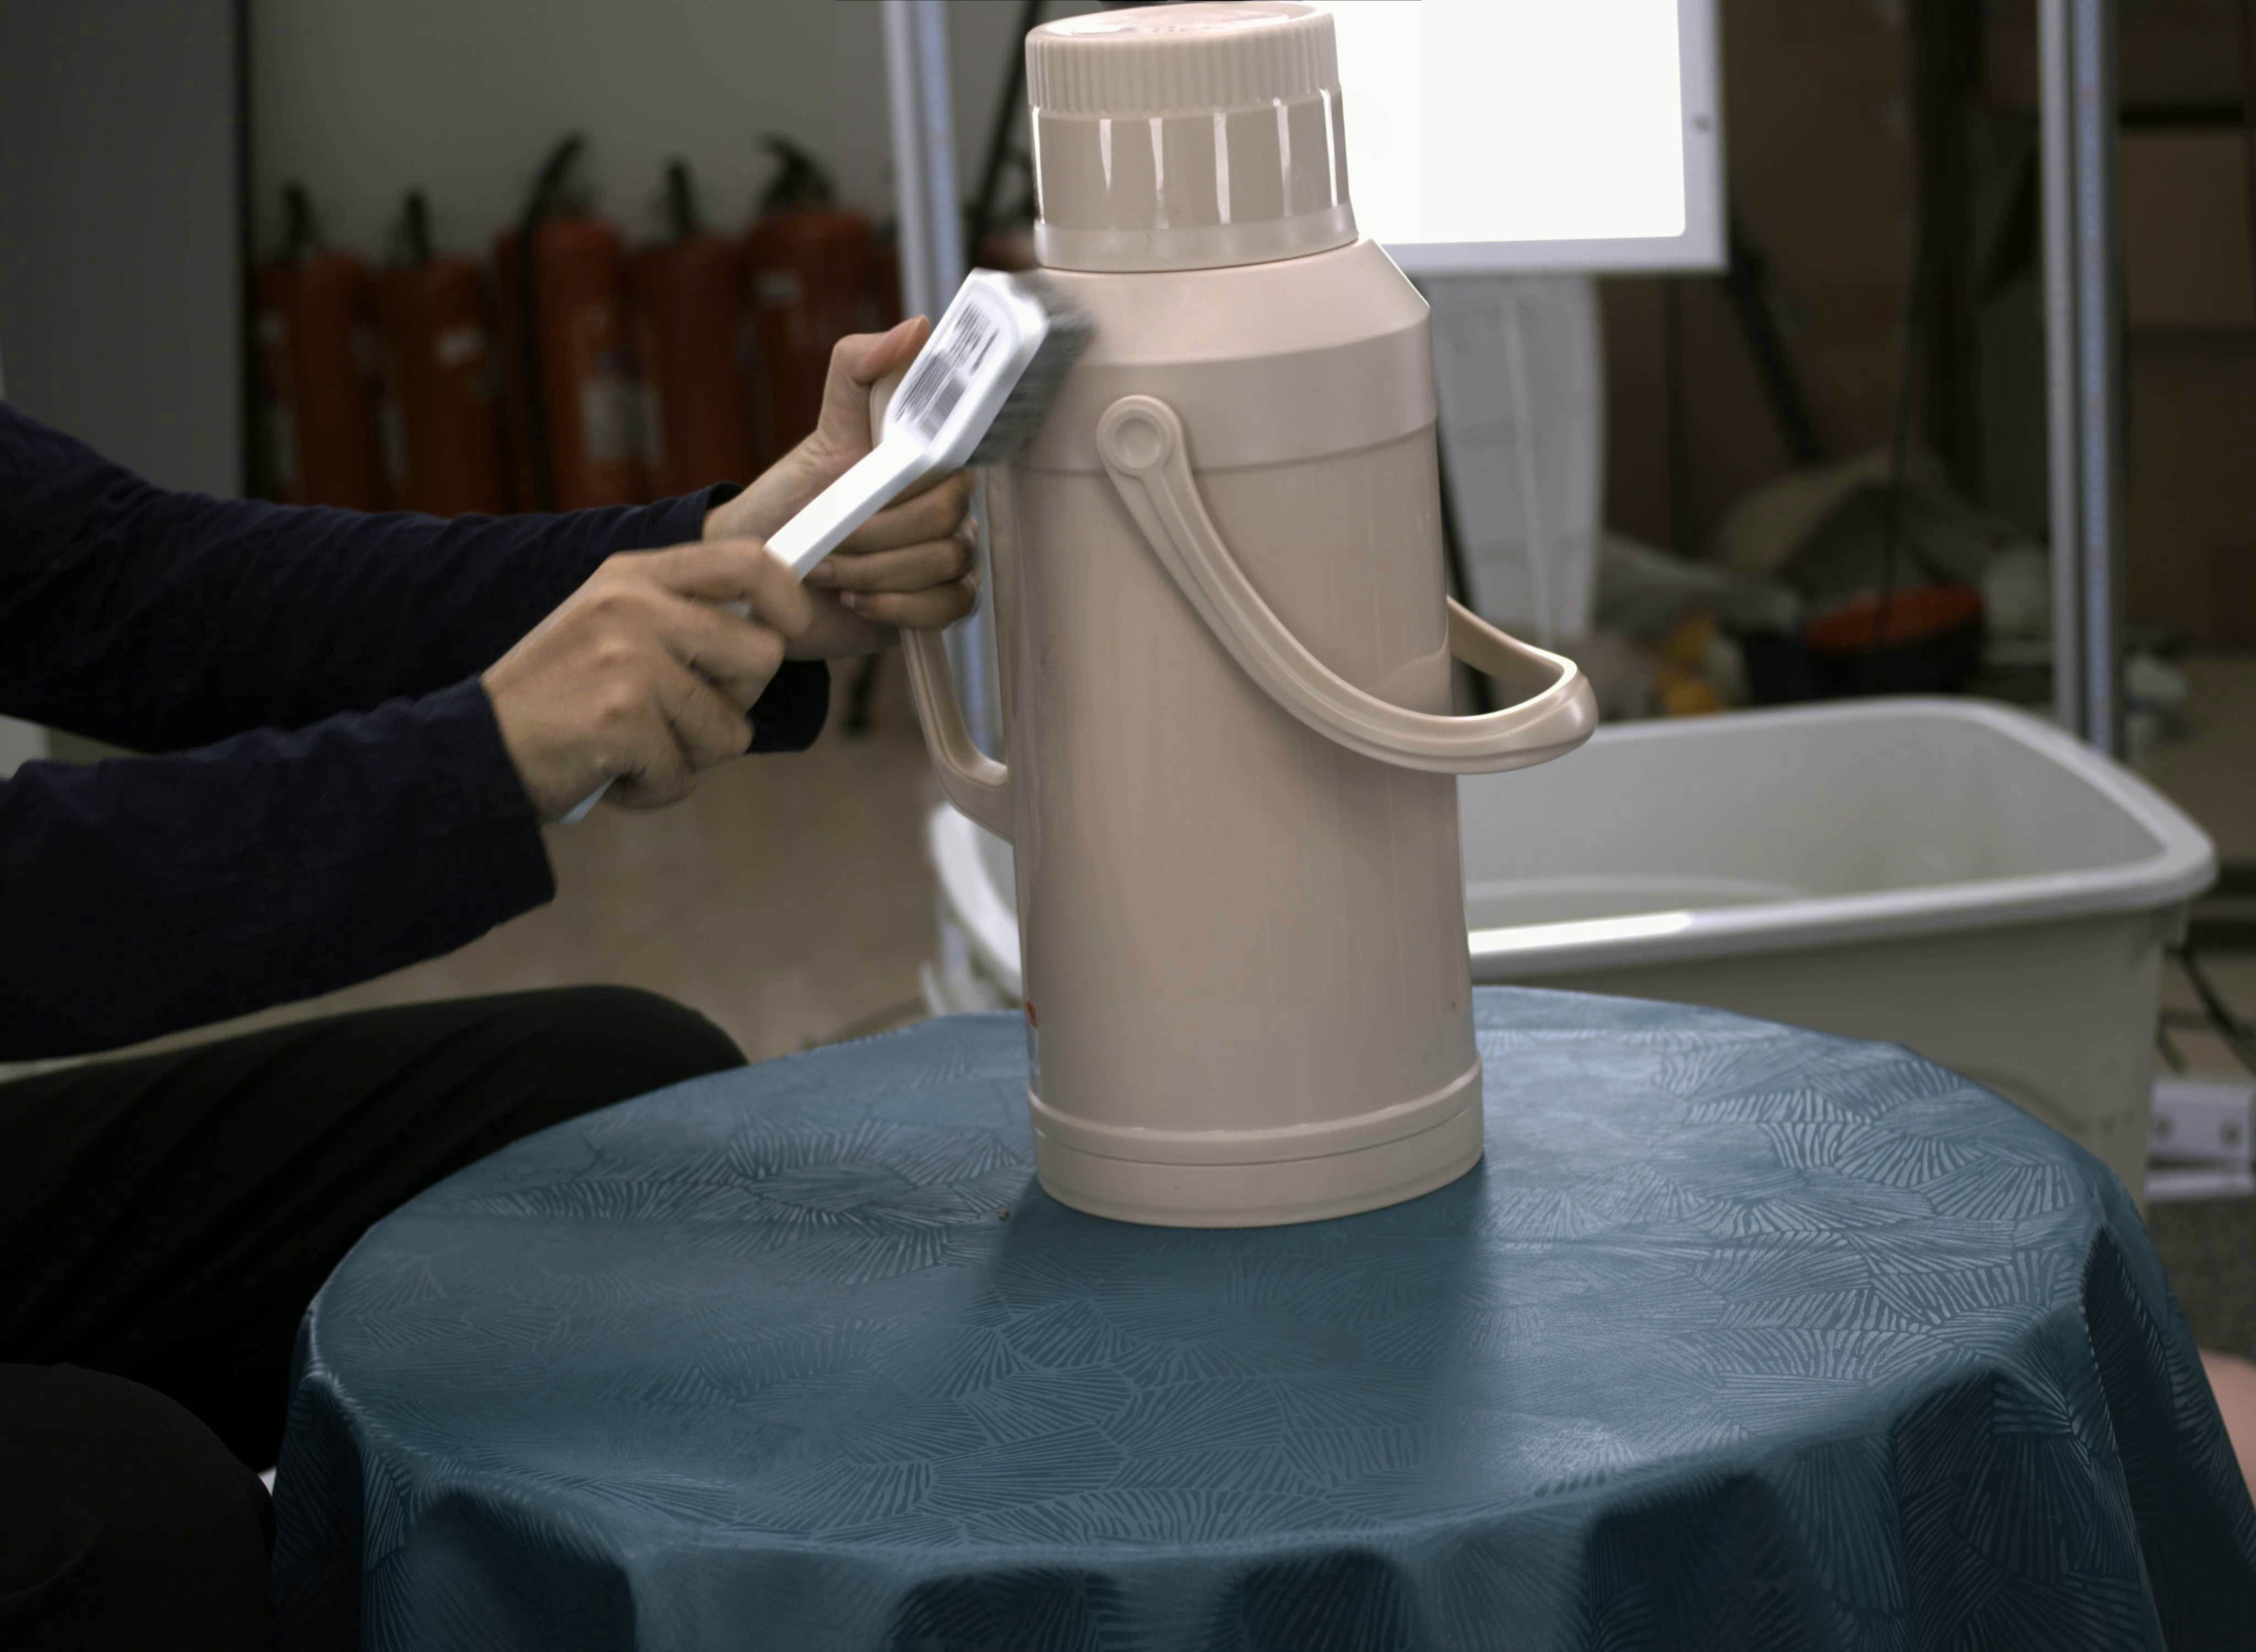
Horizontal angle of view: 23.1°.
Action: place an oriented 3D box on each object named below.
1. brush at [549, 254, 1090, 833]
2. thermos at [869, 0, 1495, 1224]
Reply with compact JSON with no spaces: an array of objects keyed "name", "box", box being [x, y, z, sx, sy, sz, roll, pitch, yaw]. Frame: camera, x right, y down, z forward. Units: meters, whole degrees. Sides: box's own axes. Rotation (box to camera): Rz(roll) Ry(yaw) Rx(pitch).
[{"name":"brush","box":[-0.100,-0.089,1.802,0.035,0.245,0.049,43,8,28]},{"name":"thermos","box":[0.019,-0.076,1.884,0.209,0.408,0.173,-1,16,17]}]
